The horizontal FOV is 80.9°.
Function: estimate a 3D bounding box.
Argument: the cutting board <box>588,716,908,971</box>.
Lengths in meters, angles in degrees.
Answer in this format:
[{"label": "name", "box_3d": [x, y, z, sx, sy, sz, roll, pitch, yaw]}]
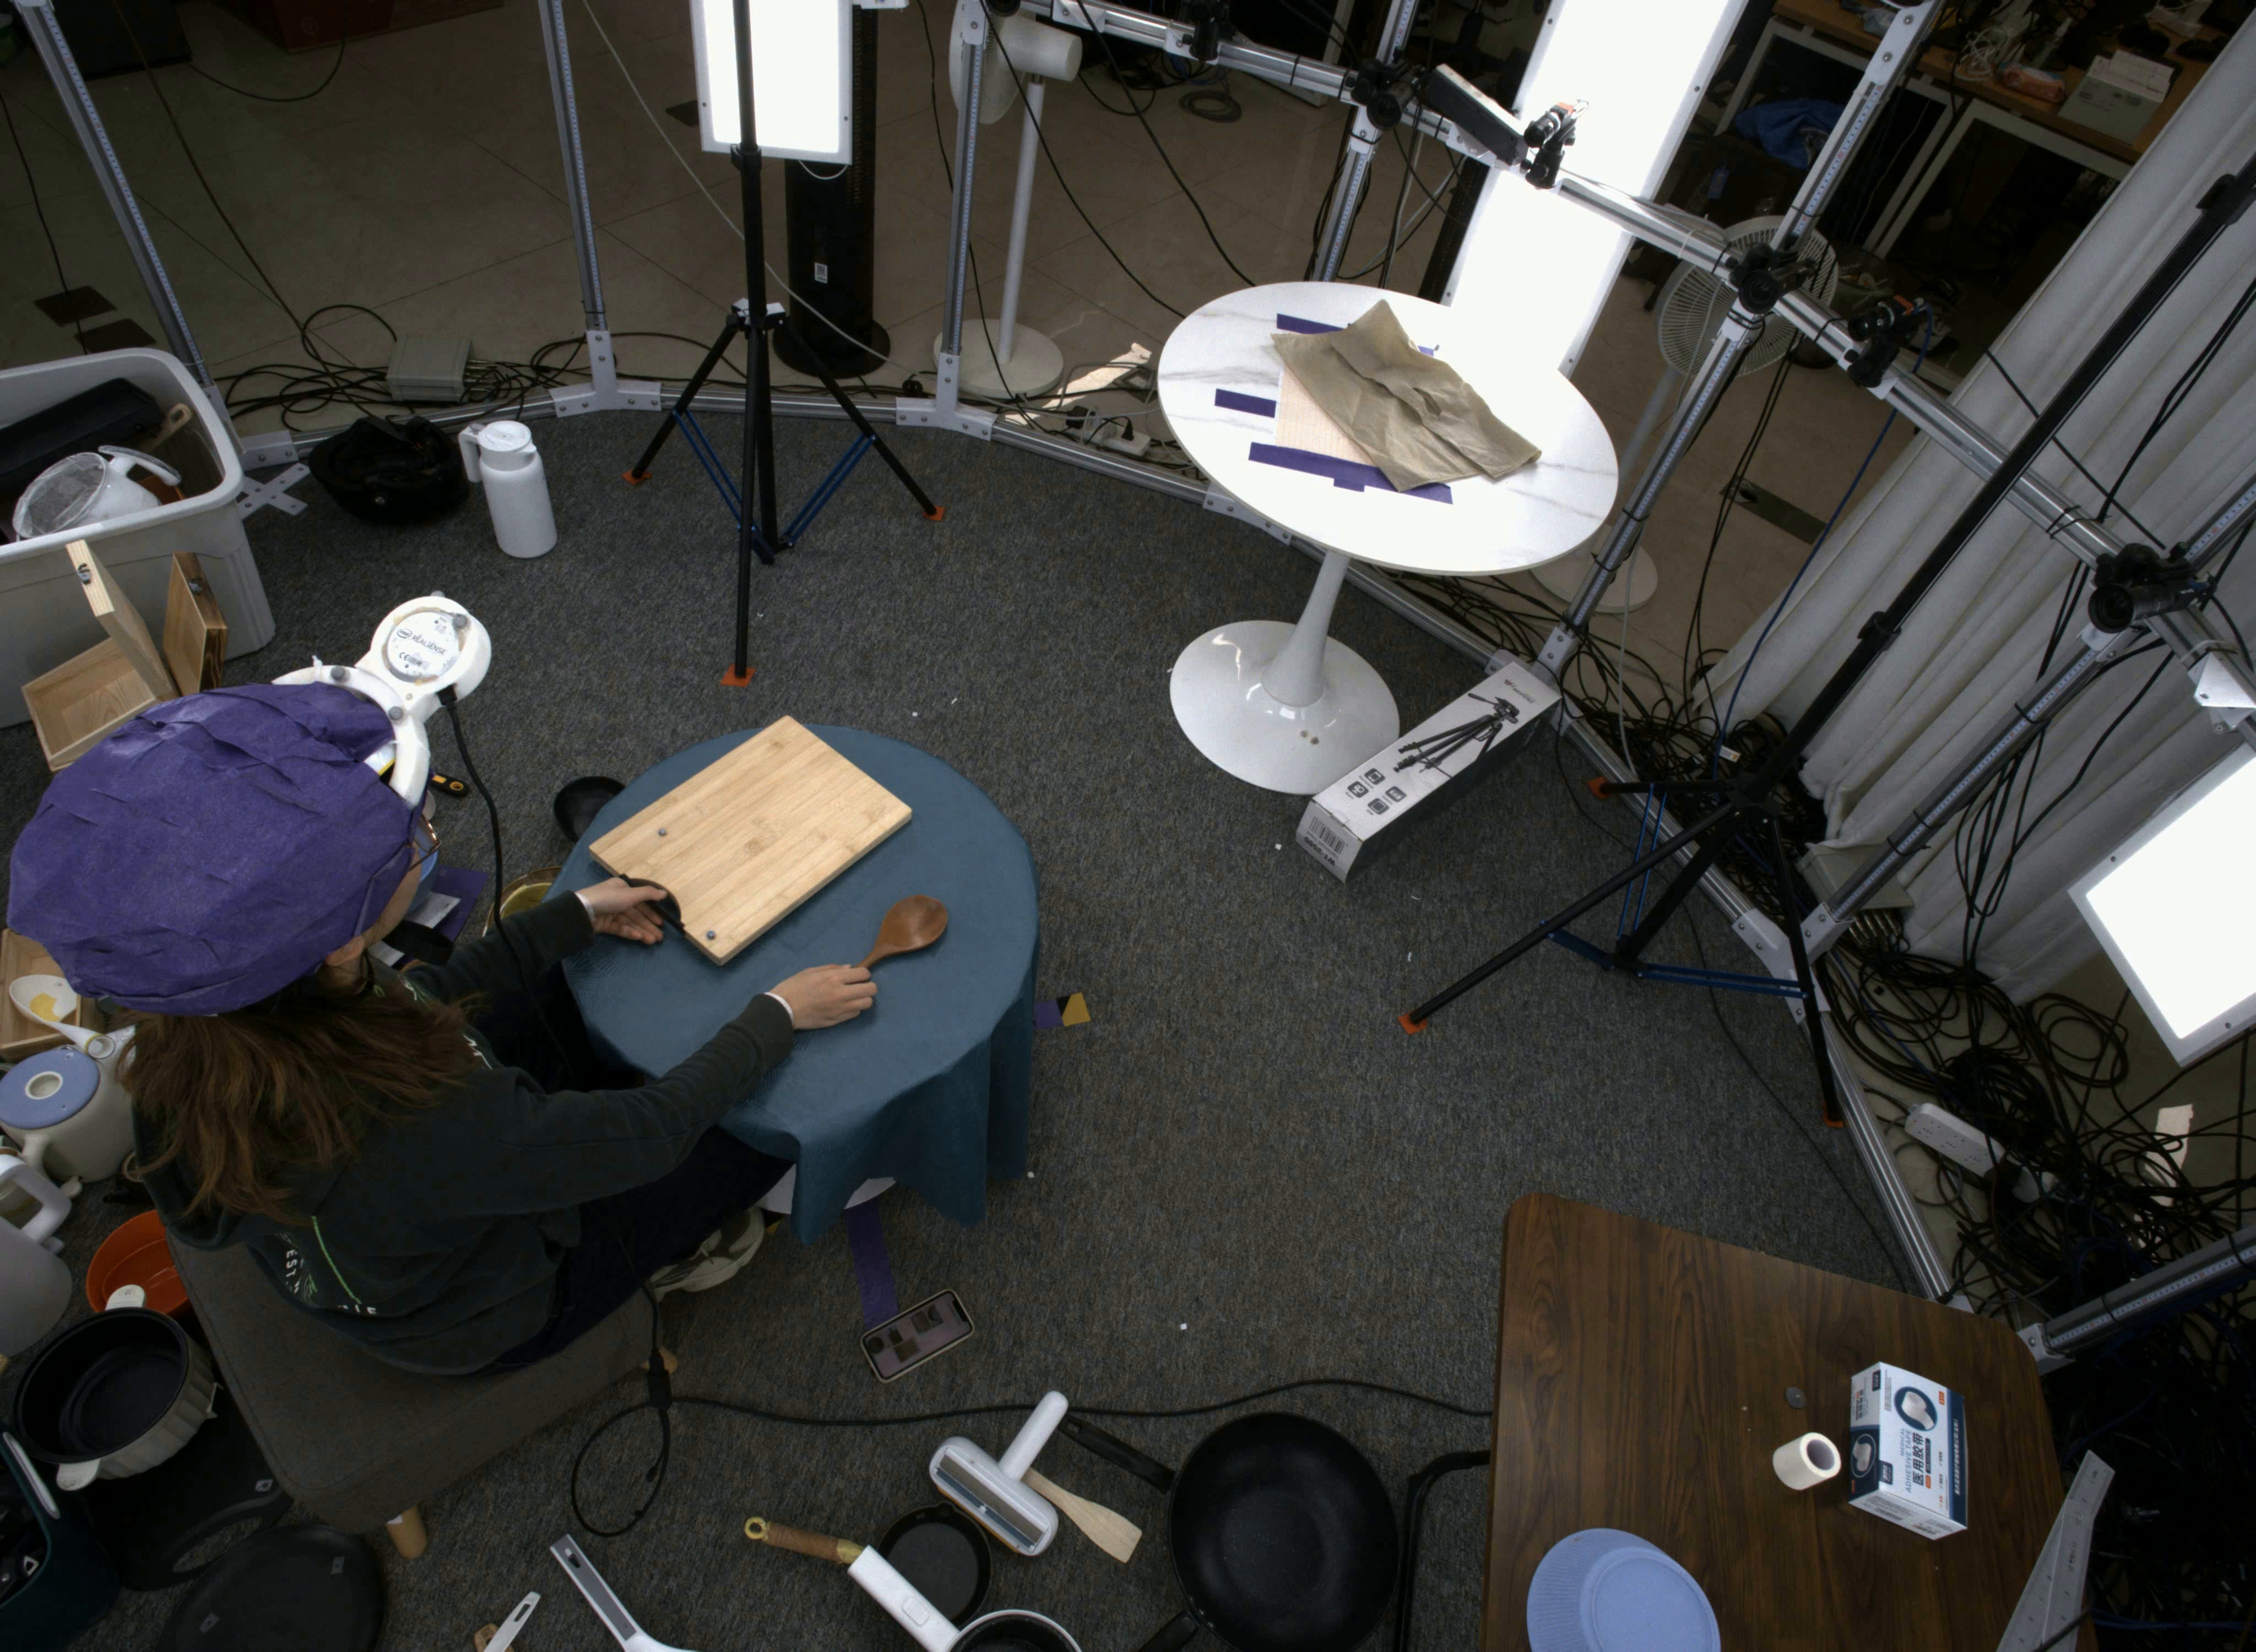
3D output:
[{"label": "cutting board", "box_3d": [-0.490, 0.010, 1.685, 0.246, 0.024, 0.348, 35, 51, 13]}]

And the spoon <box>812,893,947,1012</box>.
[{"label": "spoon", "box_3d": [-0.312, 0.157, 1.629, 0.074, 0.017, 0.216, 39, 54, 12]}]
